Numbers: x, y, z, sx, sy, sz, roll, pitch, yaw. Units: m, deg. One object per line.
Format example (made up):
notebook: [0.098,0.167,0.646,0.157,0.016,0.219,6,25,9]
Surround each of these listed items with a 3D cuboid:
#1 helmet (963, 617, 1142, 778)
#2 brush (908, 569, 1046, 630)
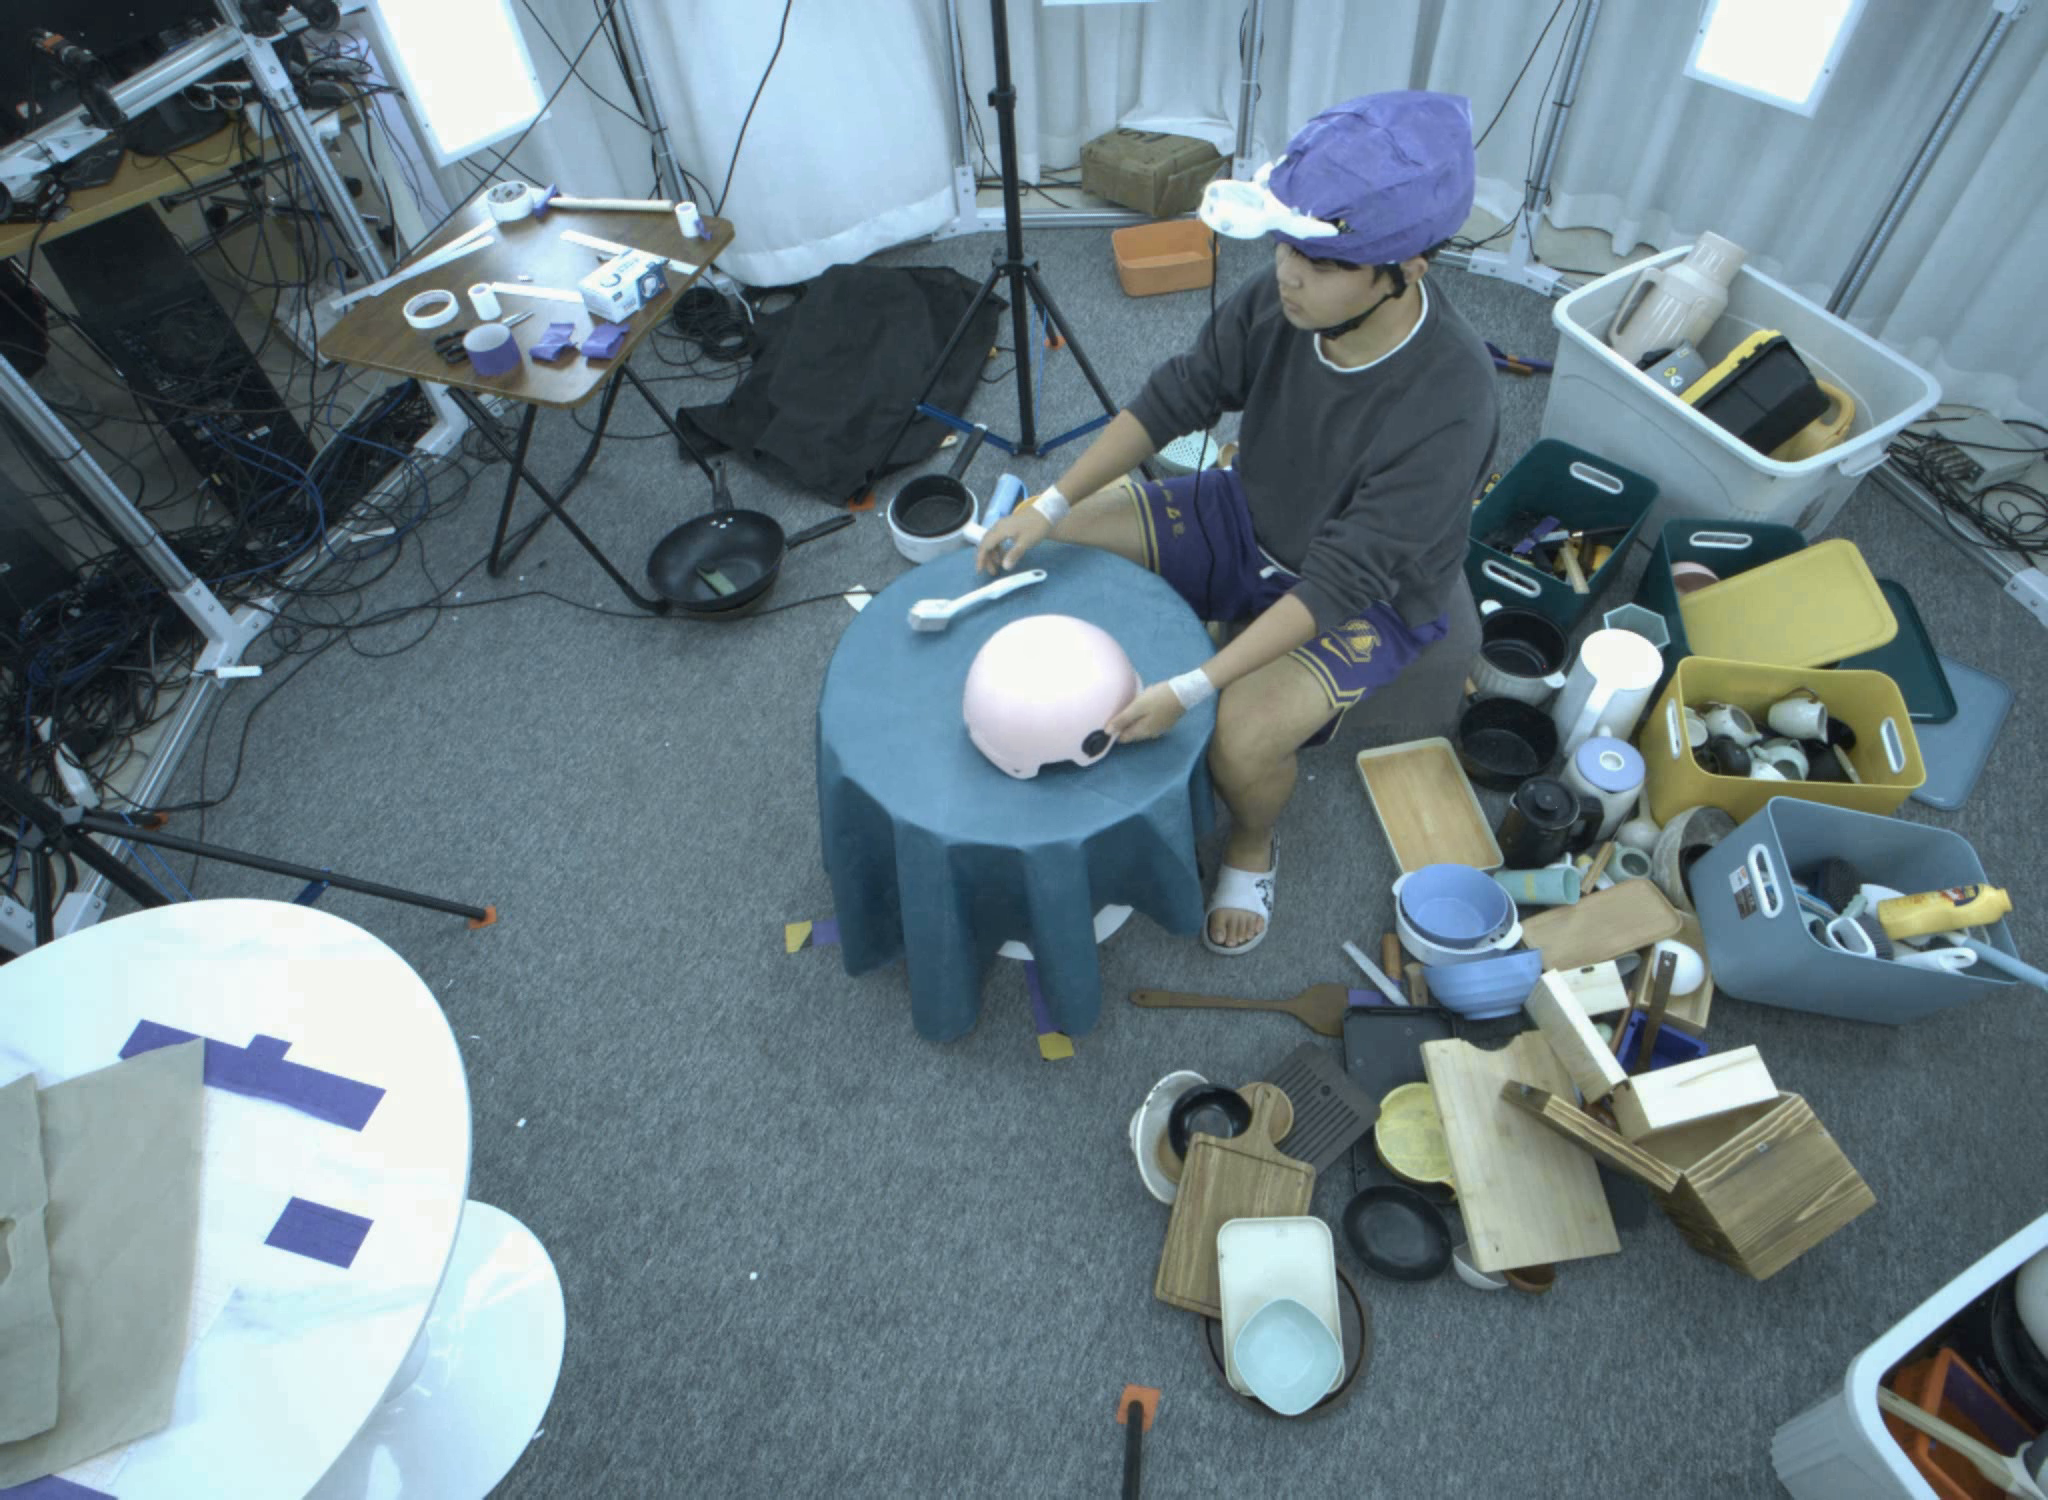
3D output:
helmet: [0.038,-0.100,1.758,0.268,0.161,0.230,-19,54,-10]
brush: [-0.072,-0.237,1.947,0.247,0.050,0.034,-20,51,-28]
